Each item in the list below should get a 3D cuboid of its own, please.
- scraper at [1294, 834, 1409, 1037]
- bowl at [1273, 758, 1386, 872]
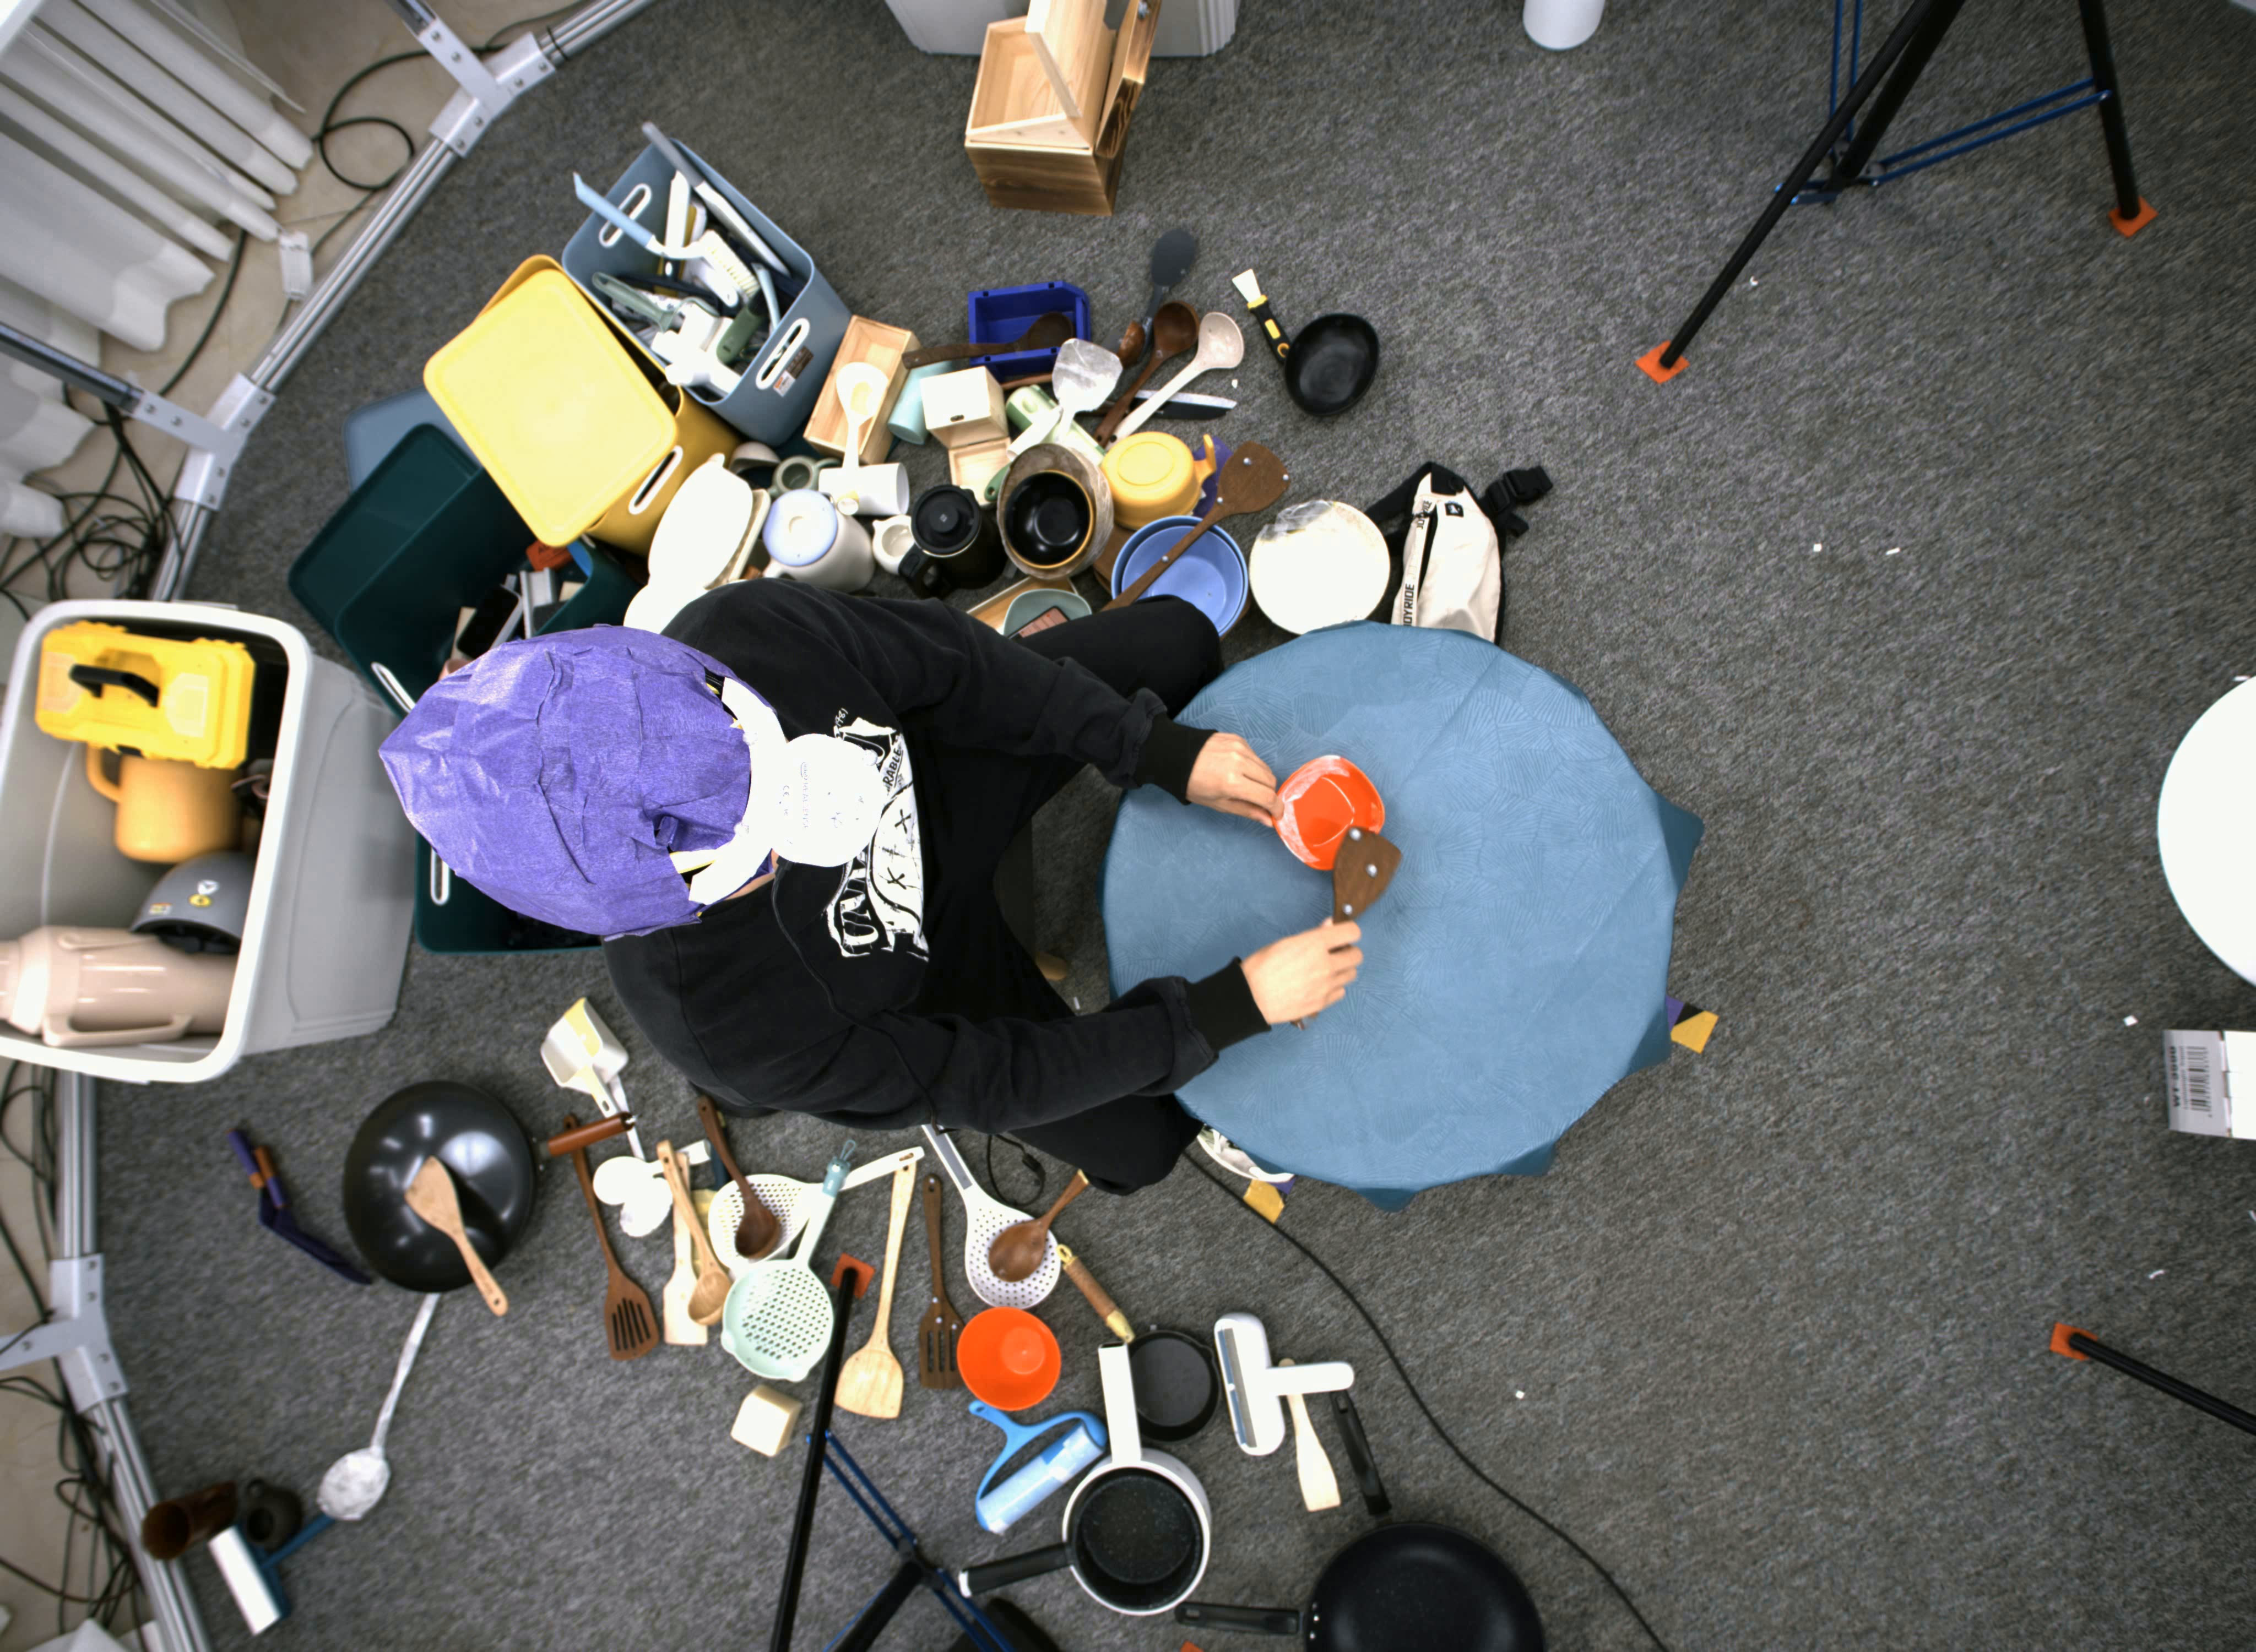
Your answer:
[{"bbox_3d":[0.215,0.110,1.380,0.076,0.011,0.209,28,81,-22],"label":"scraper"},{"bbox_3d":[0.207,-0.013,1.448,0.119,0.051,0.119,0,96,-4],"label":"bowl"}]
